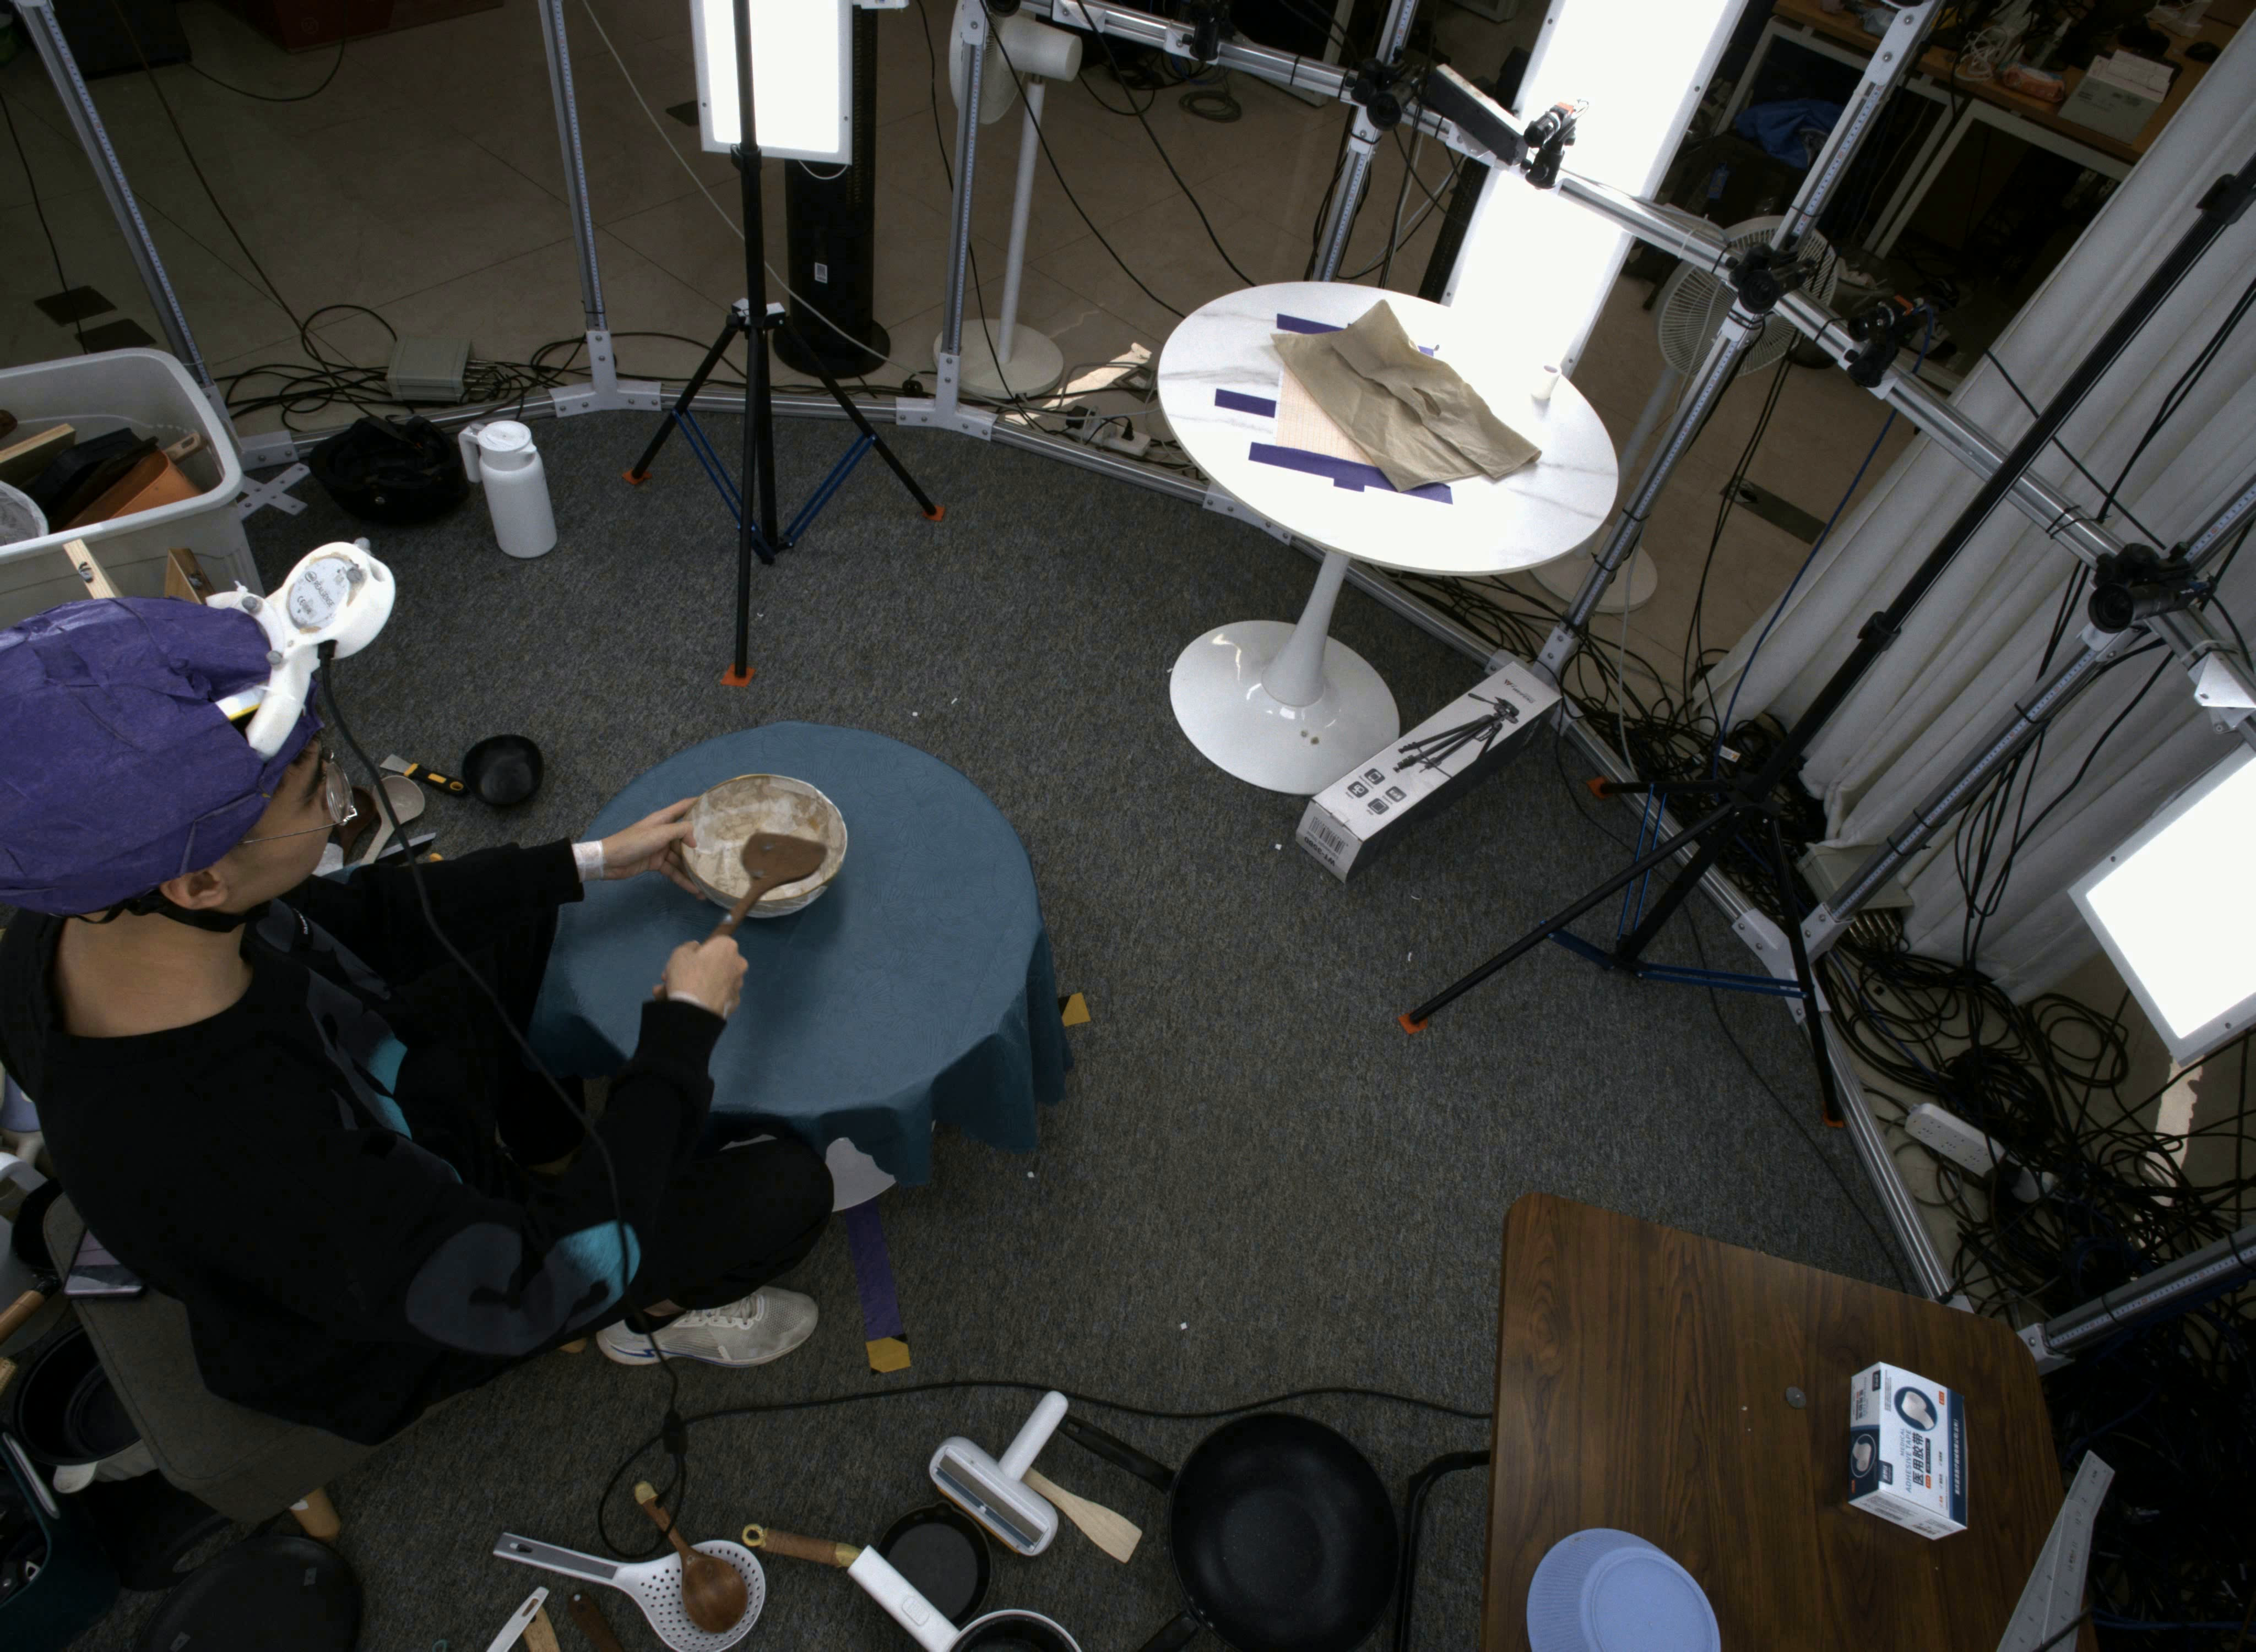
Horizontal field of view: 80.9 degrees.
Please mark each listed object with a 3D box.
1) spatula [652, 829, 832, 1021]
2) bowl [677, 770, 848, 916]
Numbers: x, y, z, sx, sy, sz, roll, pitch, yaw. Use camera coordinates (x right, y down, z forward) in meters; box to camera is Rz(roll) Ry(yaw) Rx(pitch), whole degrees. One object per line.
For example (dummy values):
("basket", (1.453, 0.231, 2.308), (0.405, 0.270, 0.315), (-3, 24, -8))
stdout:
("spatula", (-0.412, 0.092, 1.362), (0.095, 0.016, 0.380), (15, 26, 0))
("bowl", (-0.462, 0.035, 1.631), (0.215, 0.096, 0.211), (10, 52, -11))
